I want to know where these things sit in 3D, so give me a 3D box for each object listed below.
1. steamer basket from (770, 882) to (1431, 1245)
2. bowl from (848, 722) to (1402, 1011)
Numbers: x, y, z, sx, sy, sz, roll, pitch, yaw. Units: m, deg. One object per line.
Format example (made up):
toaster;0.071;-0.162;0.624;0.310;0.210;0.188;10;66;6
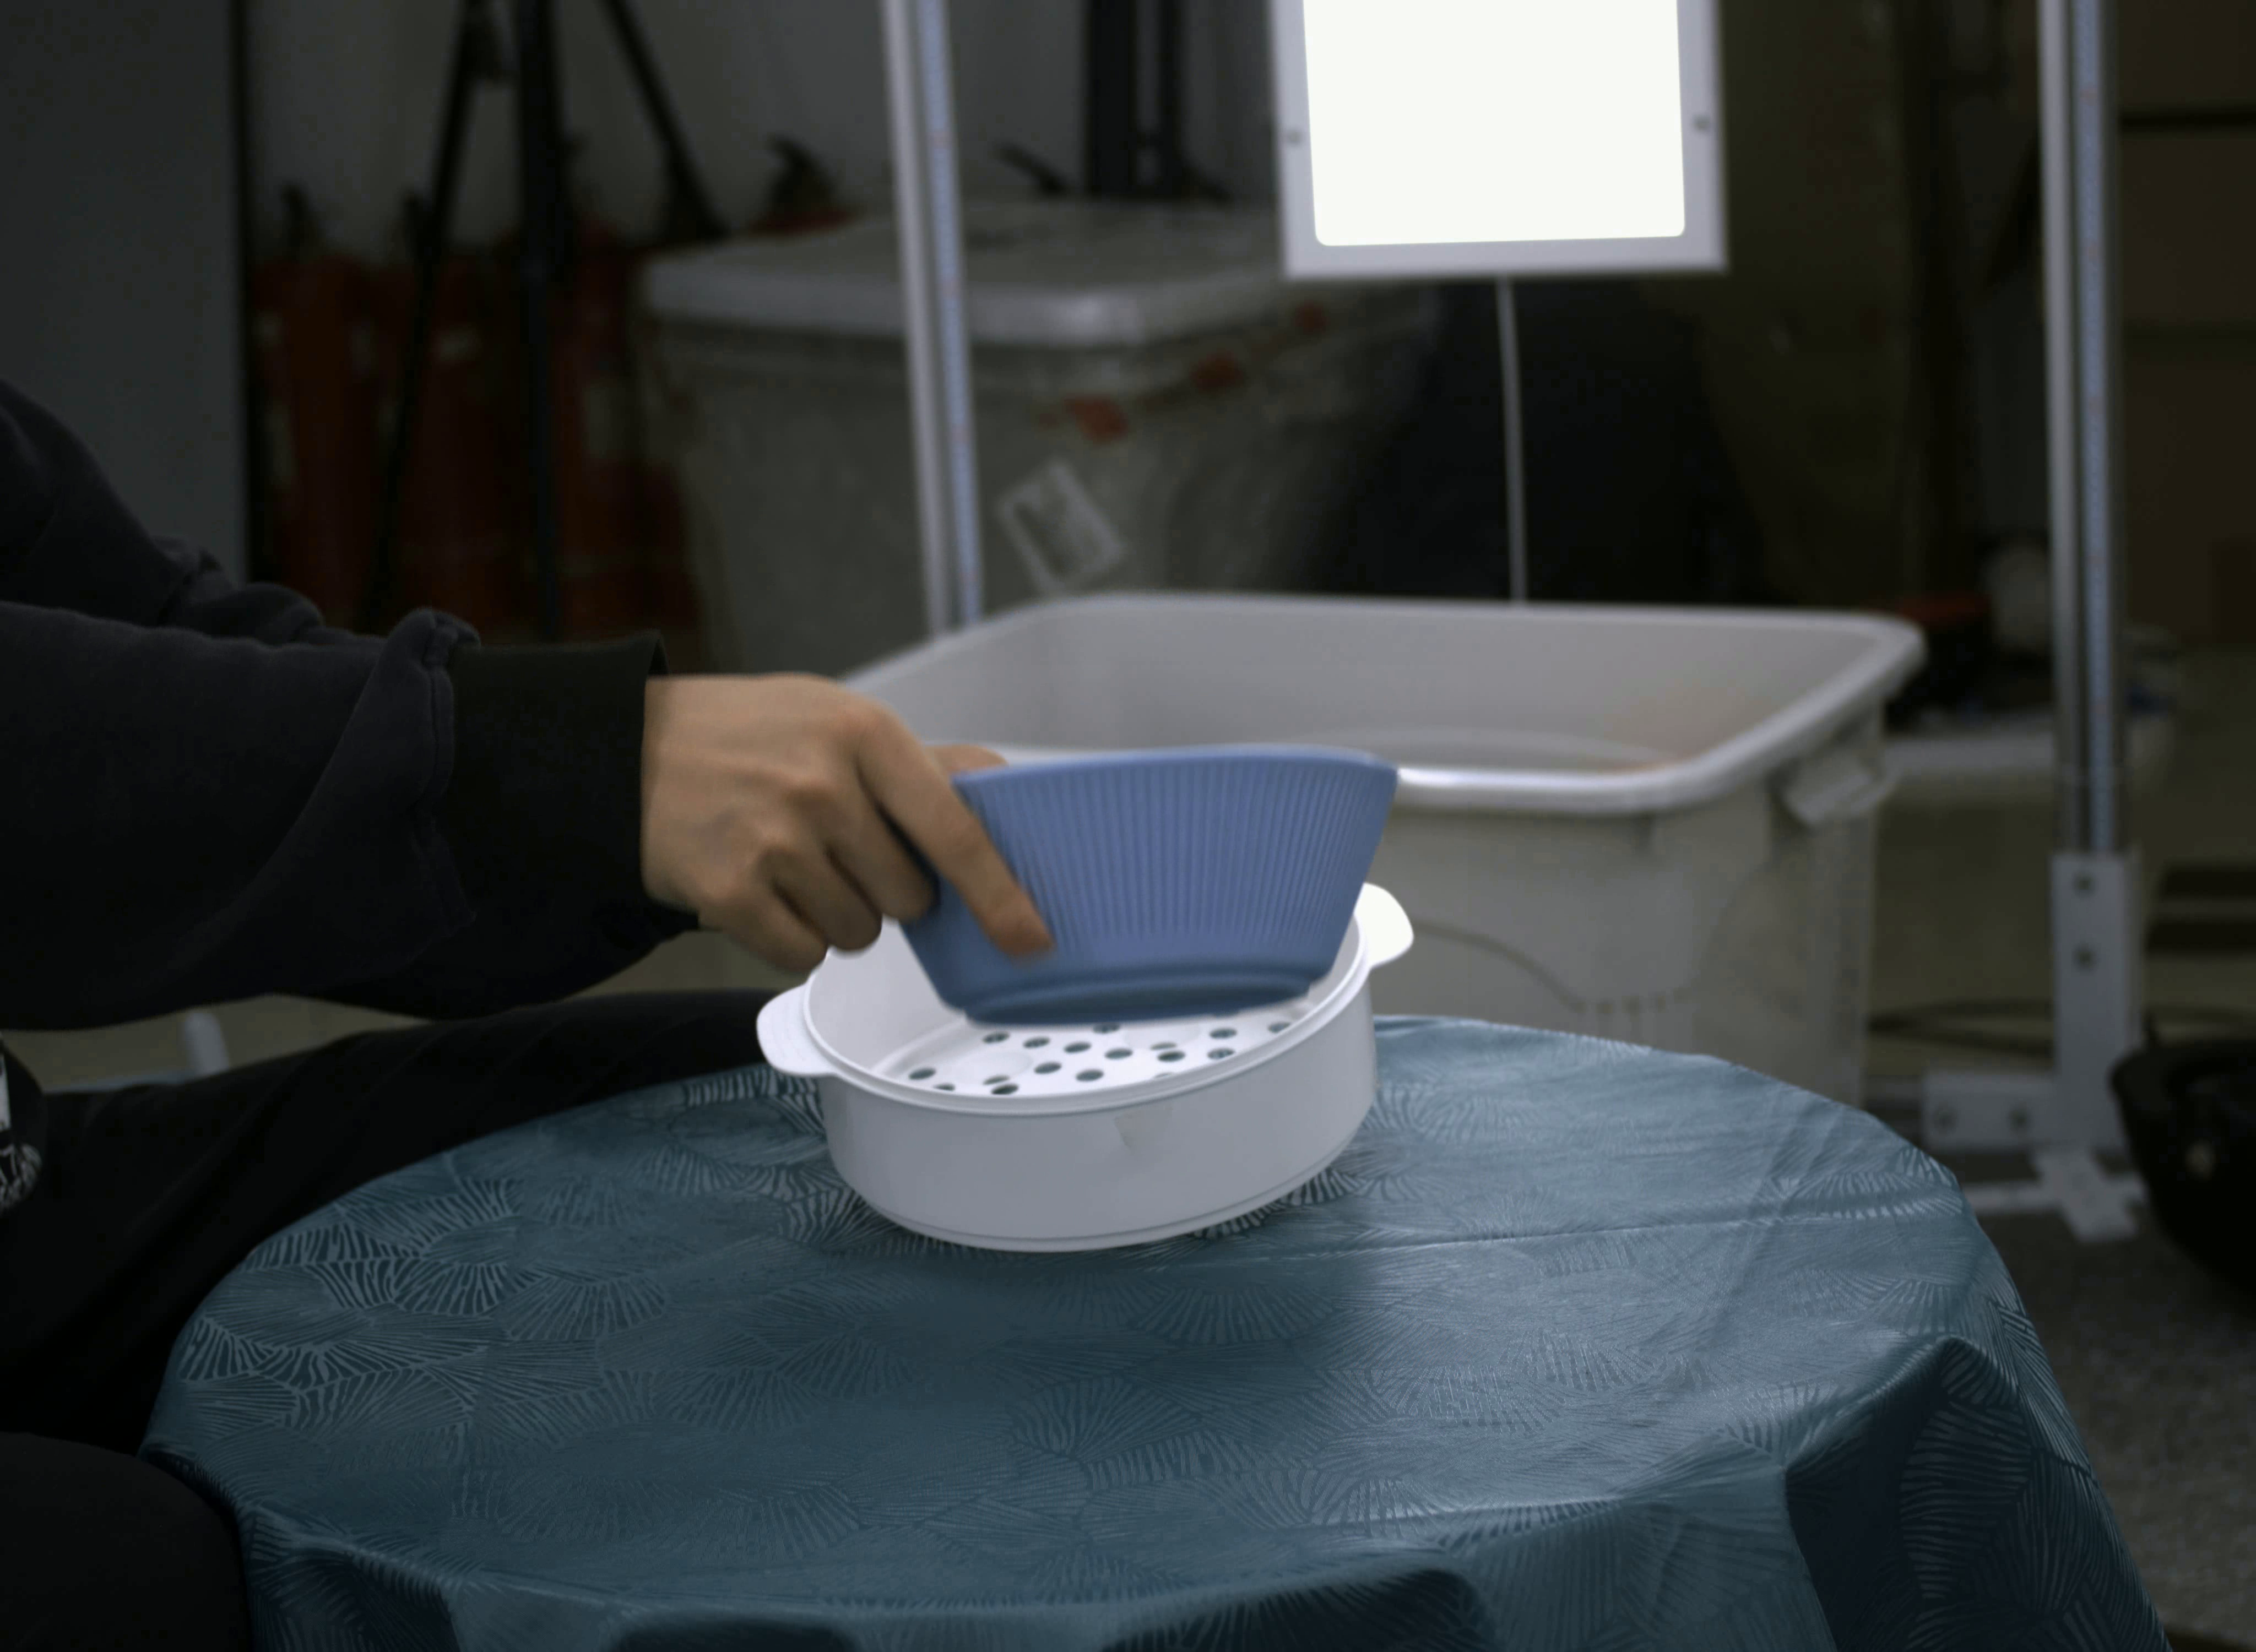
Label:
steamer basket;-0.007;0.075;1.909;0.229;0.069;0.203;-10;24;-7
bowl;0.002;0.016;1.716;0.175;0.070;0.176;-4;-9;-2
